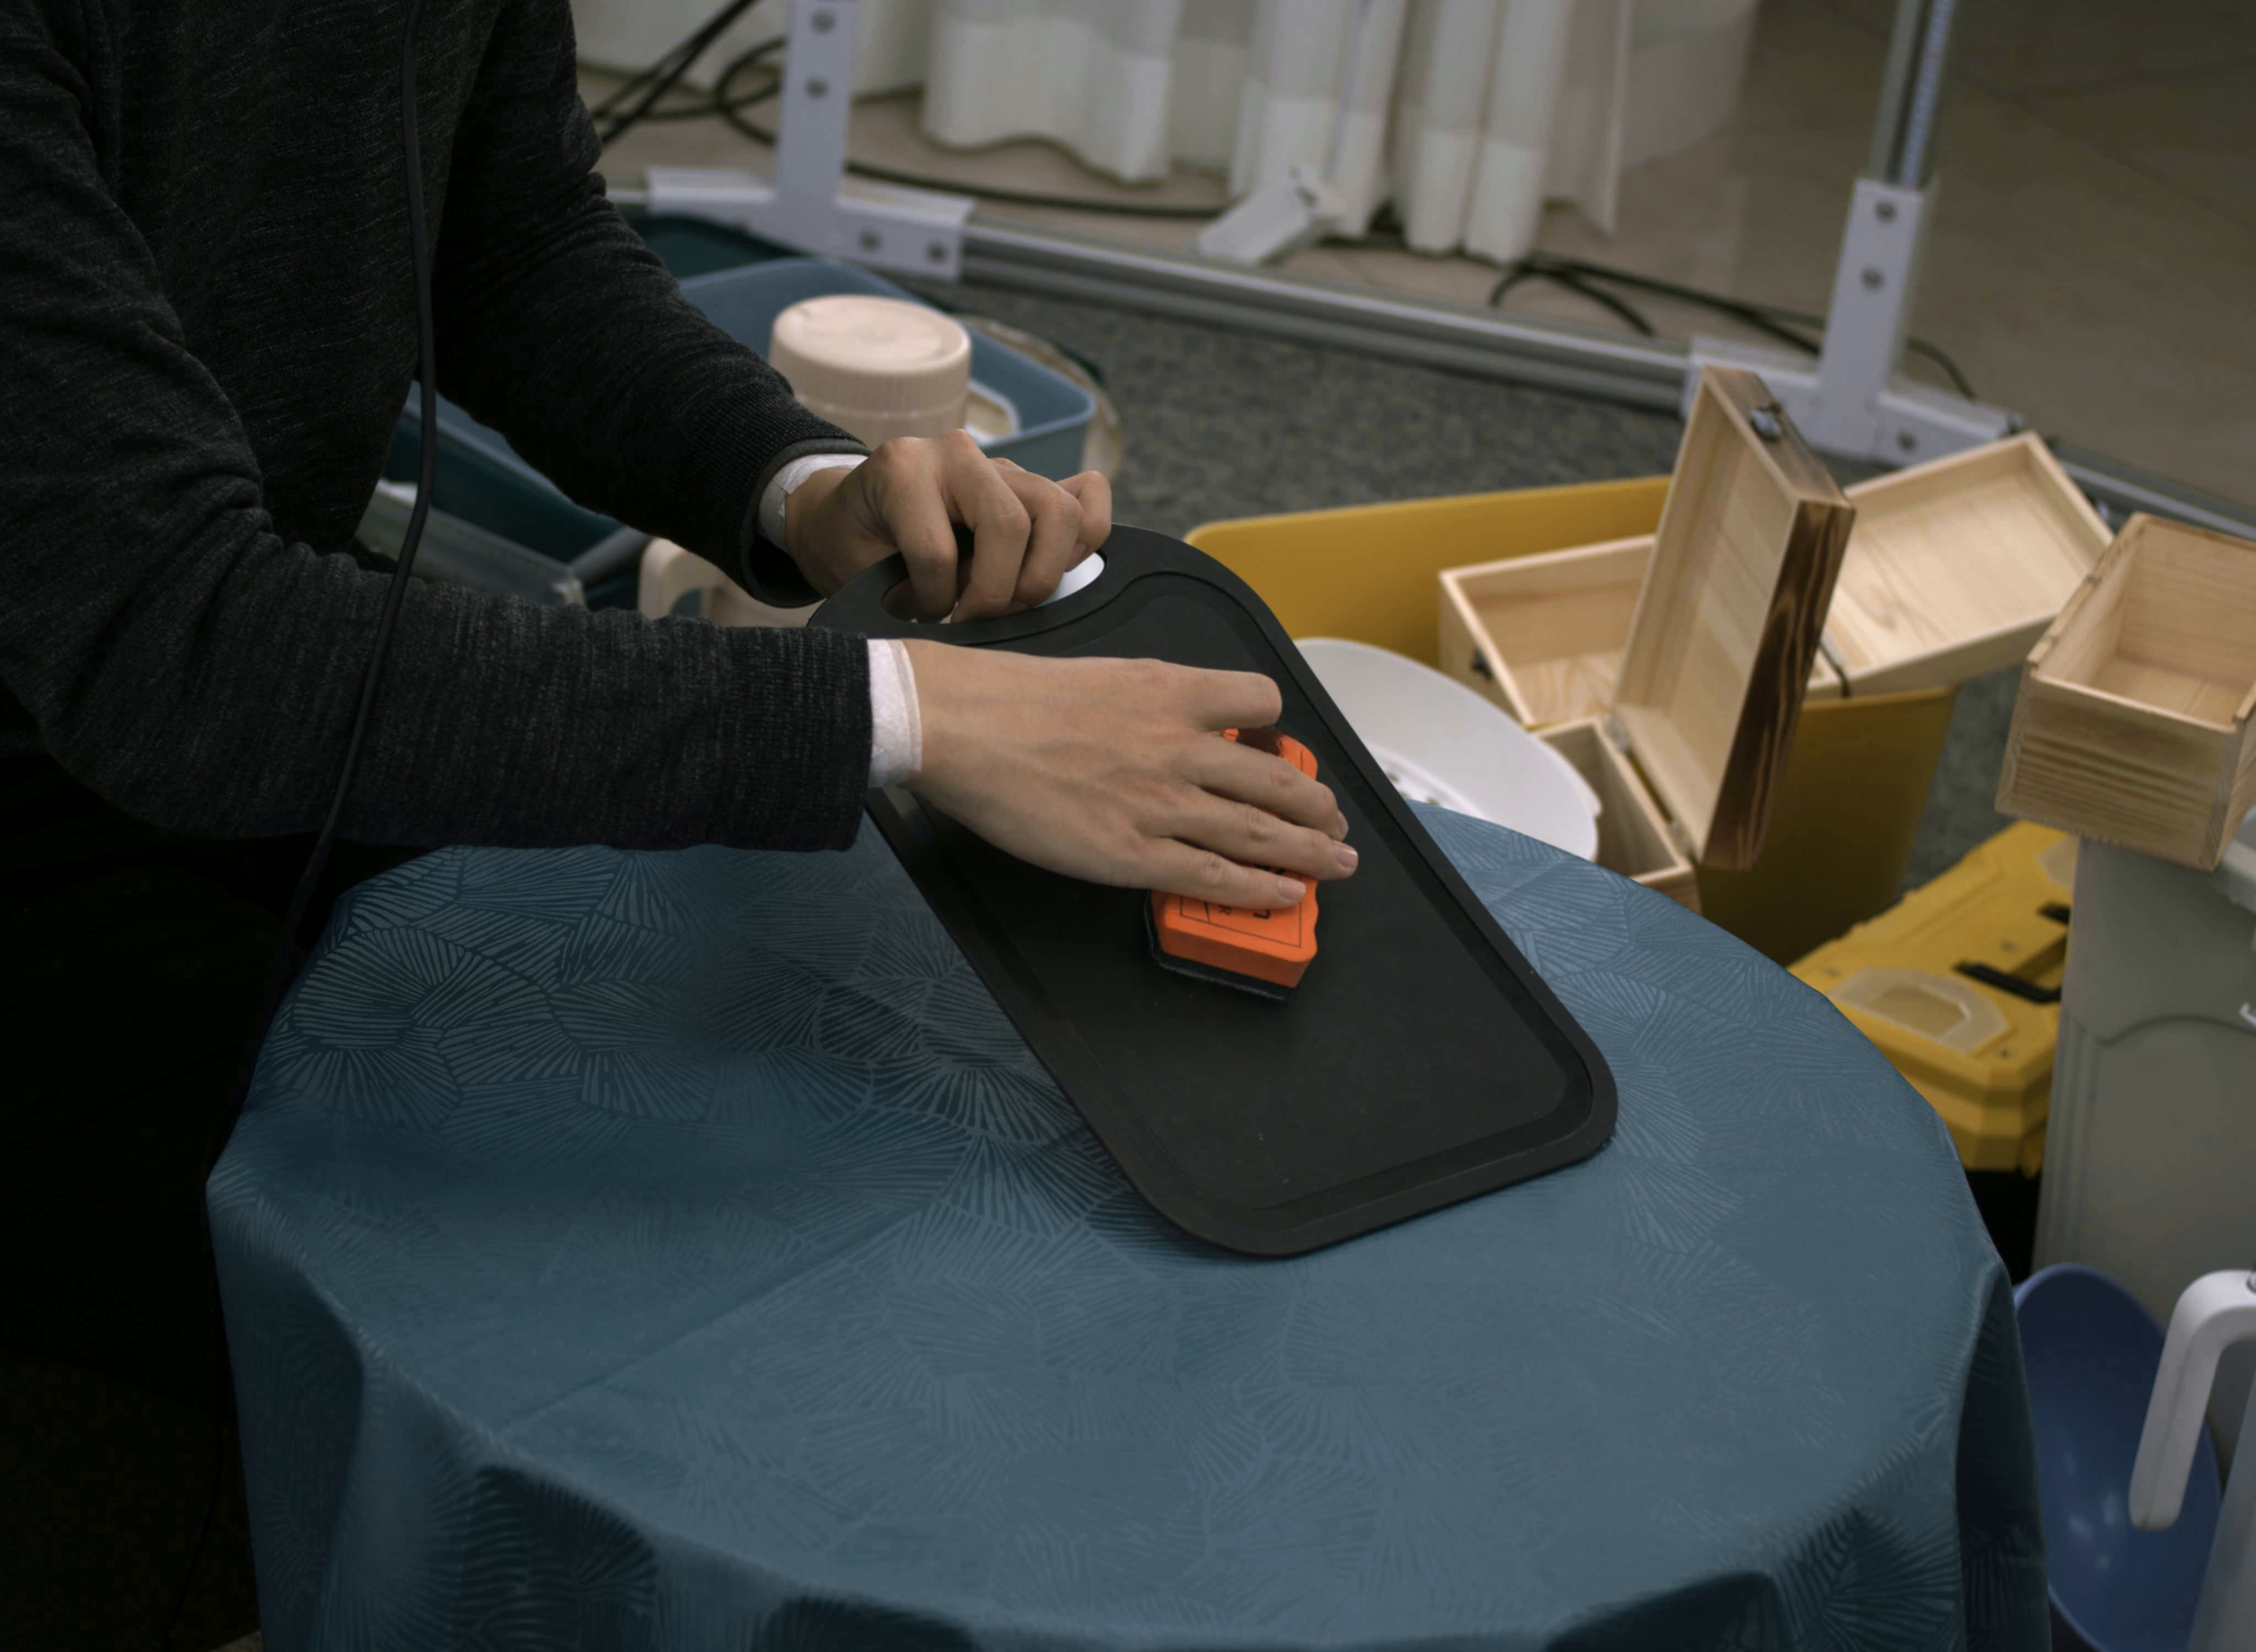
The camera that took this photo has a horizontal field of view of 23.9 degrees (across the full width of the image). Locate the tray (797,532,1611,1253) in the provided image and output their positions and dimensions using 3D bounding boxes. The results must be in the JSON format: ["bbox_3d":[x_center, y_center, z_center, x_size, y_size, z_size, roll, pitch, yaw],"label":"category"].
[{"bbox_3d":[0.022,0.013,1.886,0.210,0.010,0.328,-13,55,-36],"label":"tray"}]

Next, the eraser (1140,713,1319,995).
[{"bbox_3d":[0.037,0.009,1.884,0.058,0.023,0.109,15,44,-10],"label":"eraser"}]
